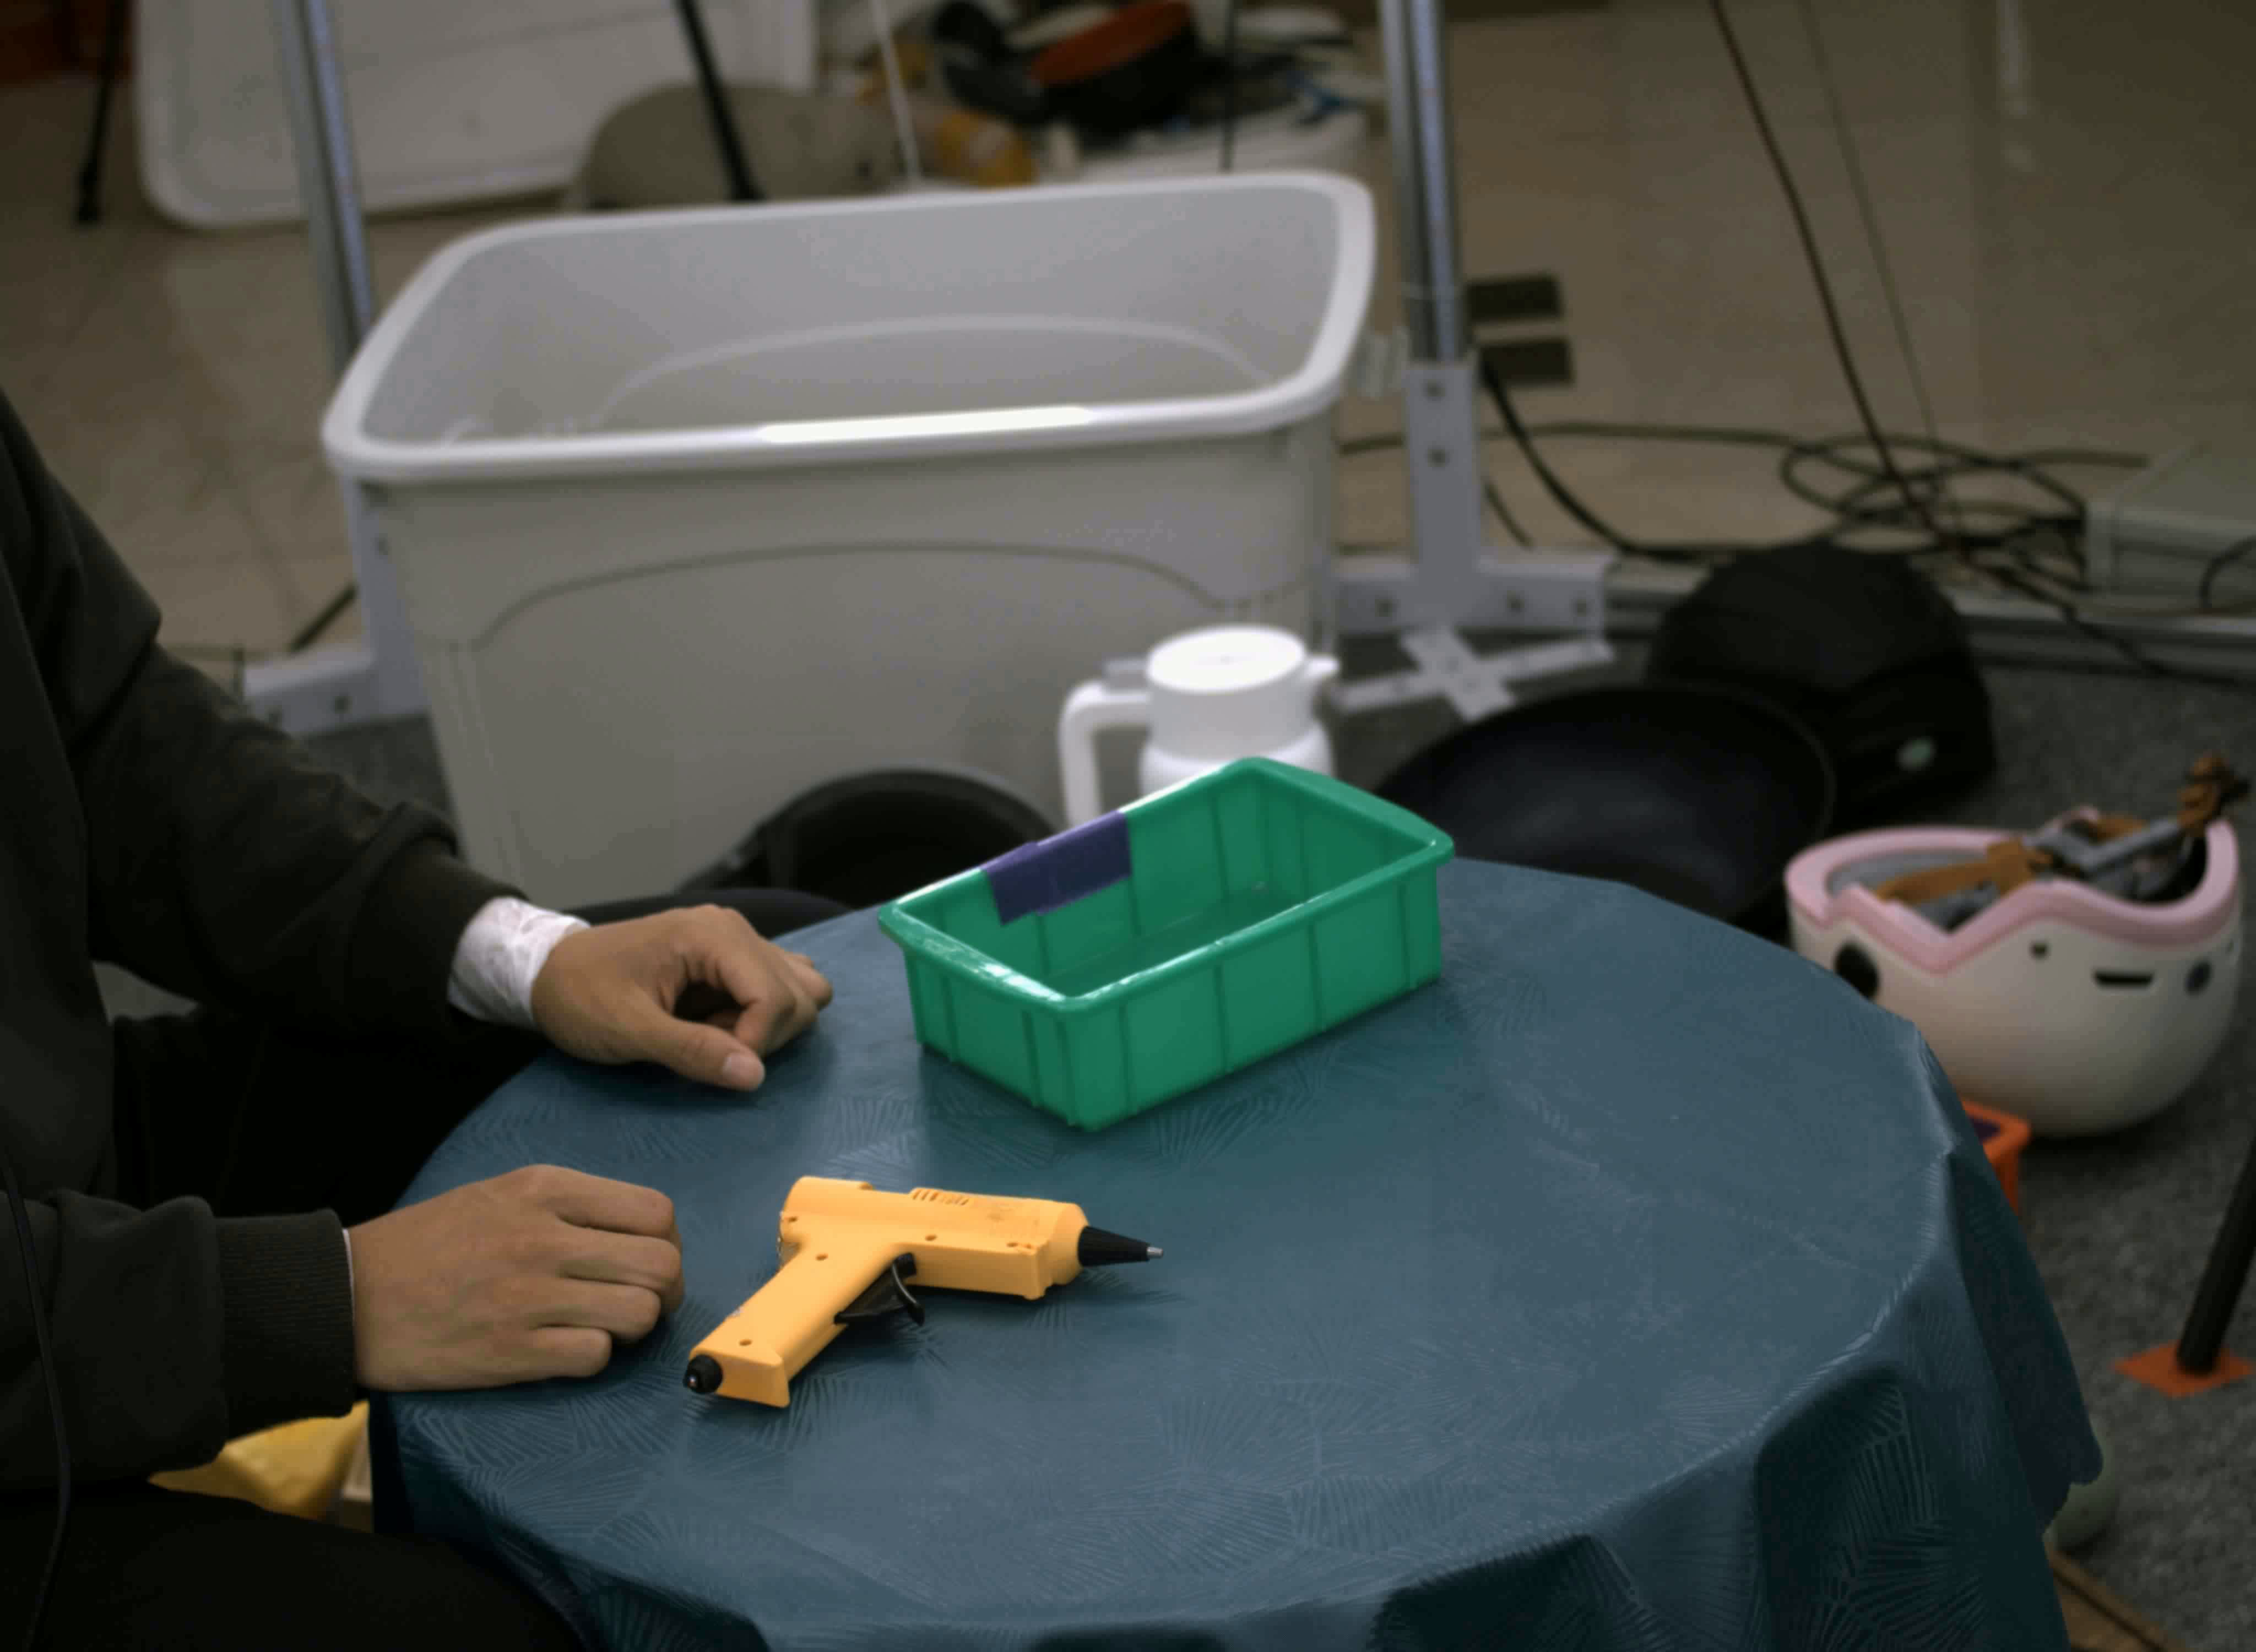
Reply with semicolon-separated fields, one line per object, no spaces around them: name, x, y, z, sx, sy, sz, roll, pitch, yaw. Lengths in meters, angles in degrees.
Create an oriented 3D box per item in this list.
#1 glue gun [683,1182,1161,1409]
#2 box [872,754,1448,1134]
glue gun;-0.071;0.173;2.064;0.151;0.031;0.131;1;27;18
box;0.016;0.047;2.266;0.209;0.066;0.137;-25;29;-31
